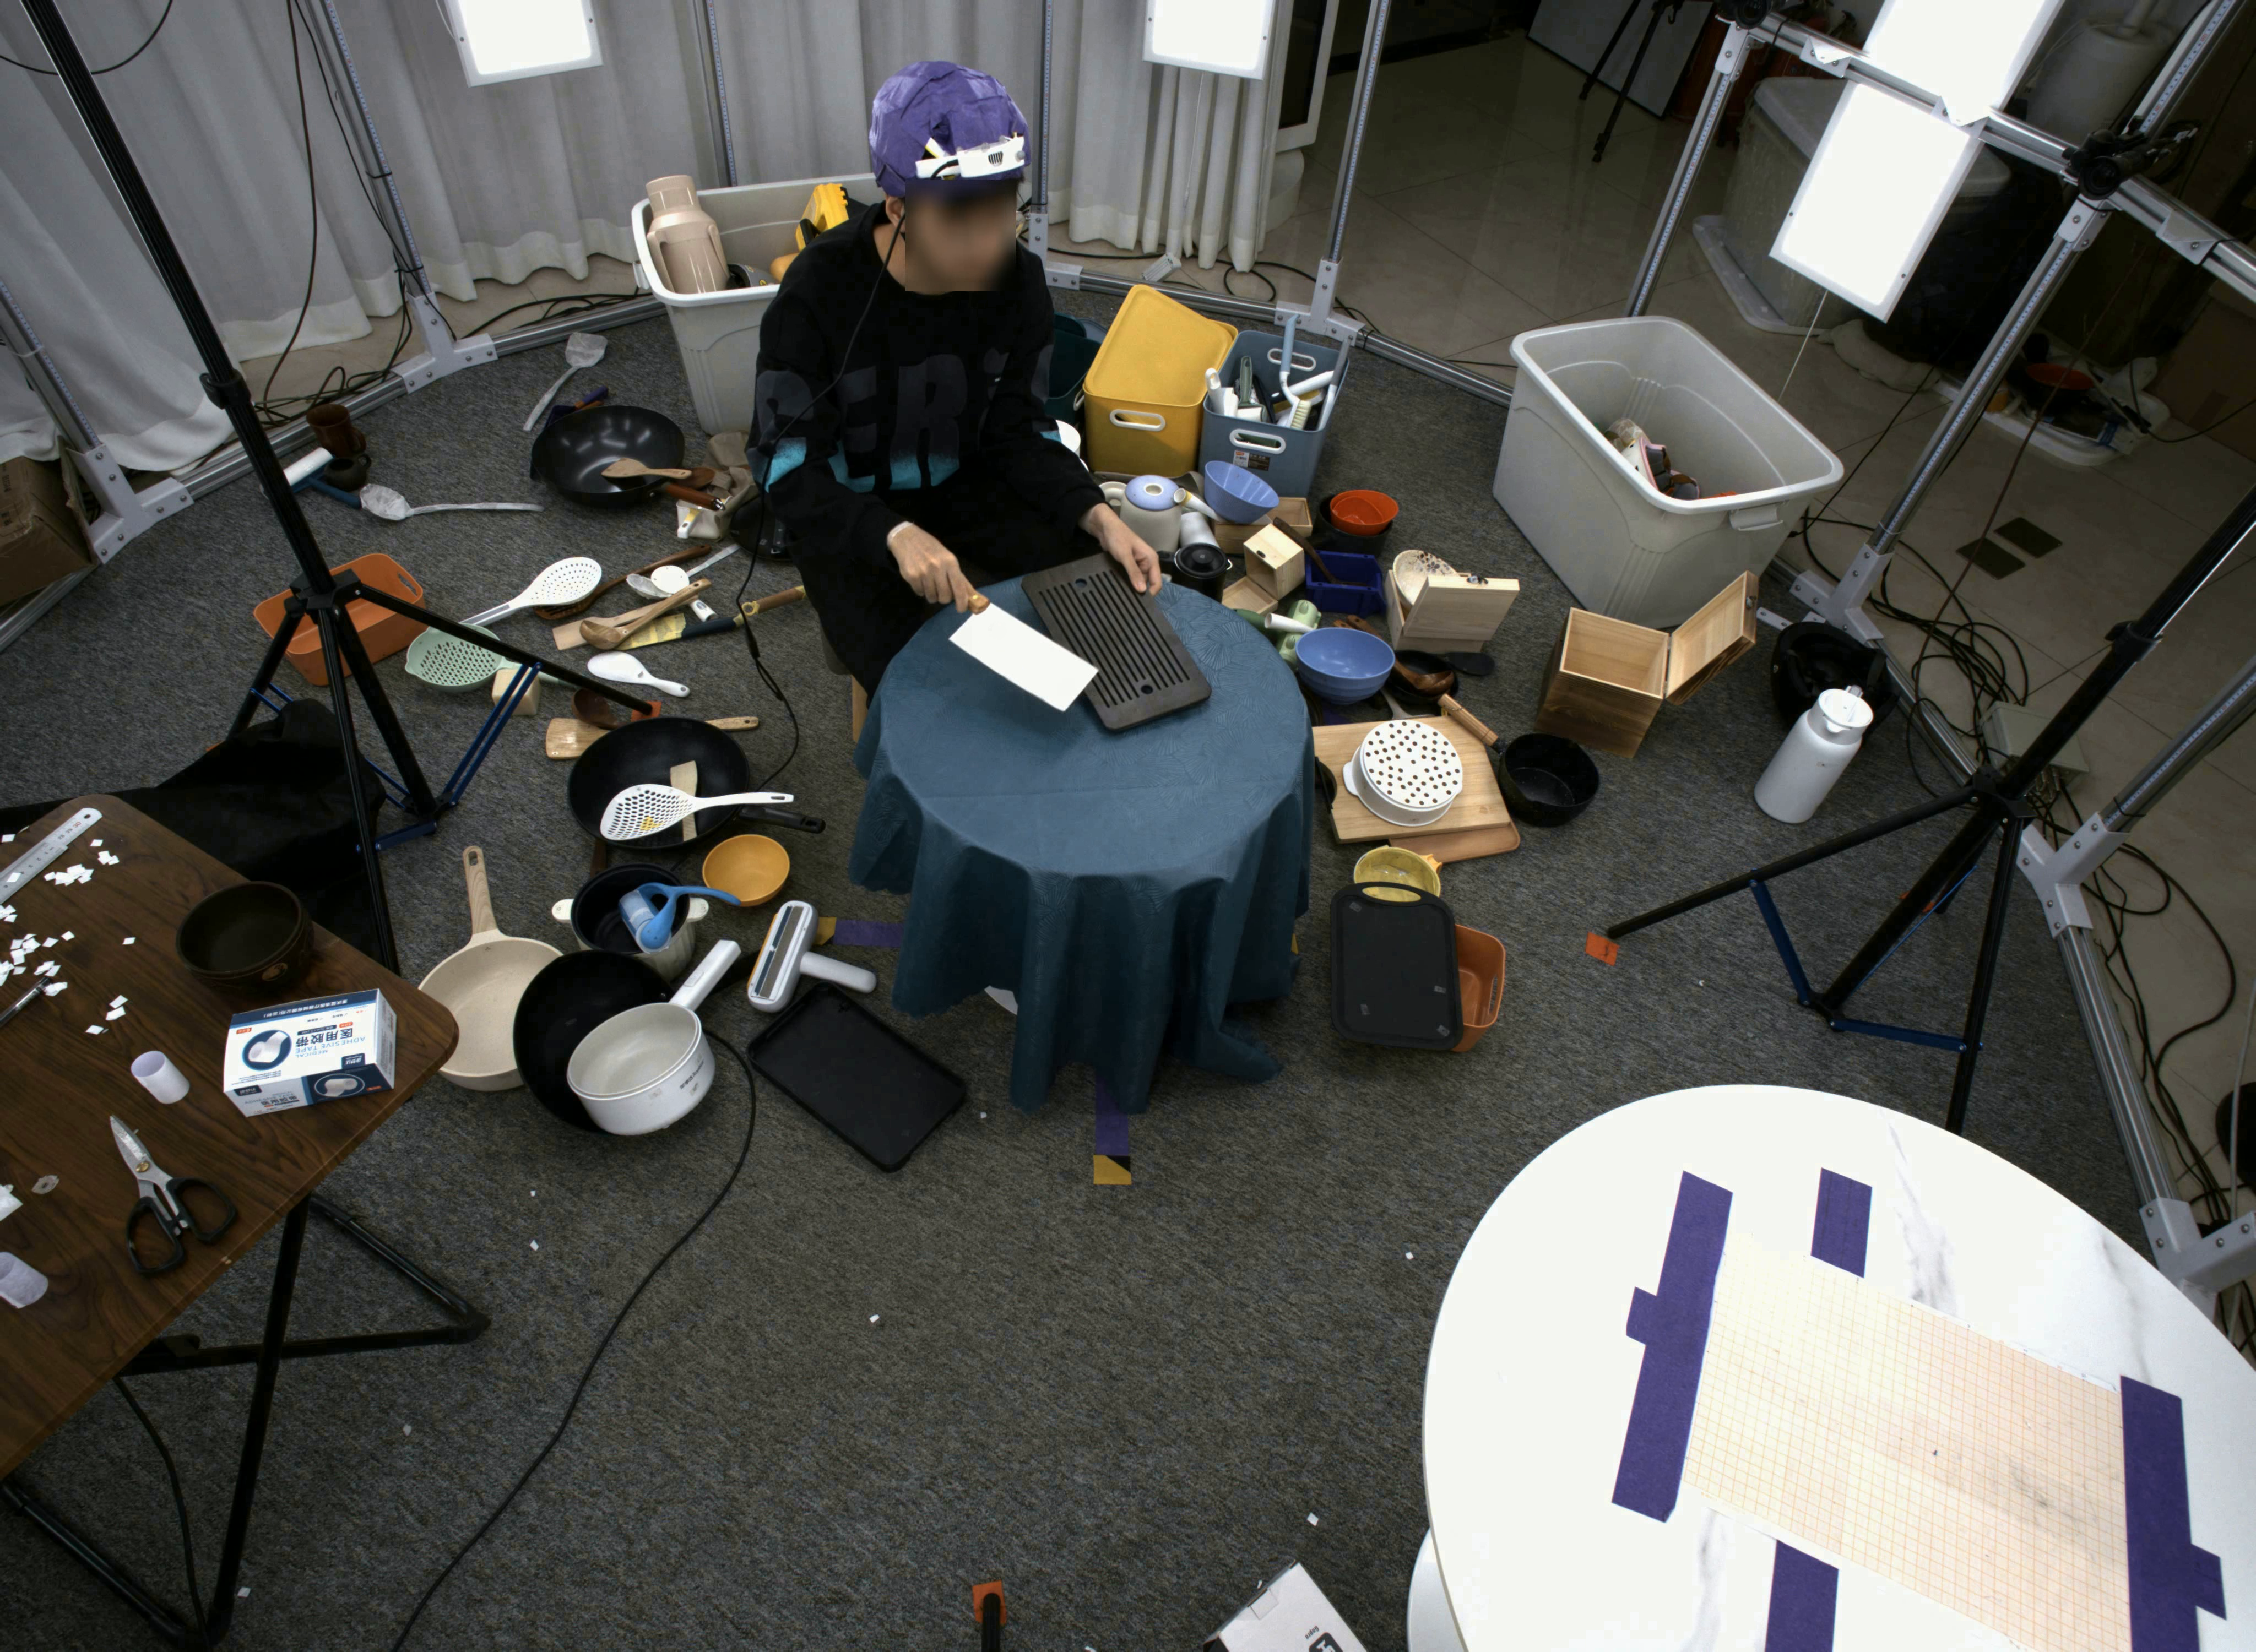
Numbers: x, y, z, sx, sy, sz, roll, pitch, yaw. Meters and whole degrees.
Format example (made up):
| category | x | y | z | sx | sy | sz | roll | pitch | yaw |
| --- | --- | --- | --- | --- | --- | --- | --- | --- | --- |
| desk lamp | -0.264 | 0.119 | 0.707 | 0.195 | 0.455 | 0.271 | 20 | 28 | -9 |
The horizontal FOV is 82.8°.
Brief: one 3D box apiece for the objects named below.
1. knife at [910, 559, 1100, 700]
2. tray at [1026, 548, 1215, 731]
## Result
| category | x | y | z | sx | sy | sz | roll | pitch | yaw |
| --- | --- | --- | --- | --- | --- | --- | --- | --- | --- |
| knife | -0.184 | -0.267 | 1.773 | 0.307 | 0.020 | 0.094 | 32 | 59 | 9 |
| tray | -0.014 | -0.275 | 1.869 | 0.170 | 0.018 | 0.312 | -19 | 60 | -18 |
